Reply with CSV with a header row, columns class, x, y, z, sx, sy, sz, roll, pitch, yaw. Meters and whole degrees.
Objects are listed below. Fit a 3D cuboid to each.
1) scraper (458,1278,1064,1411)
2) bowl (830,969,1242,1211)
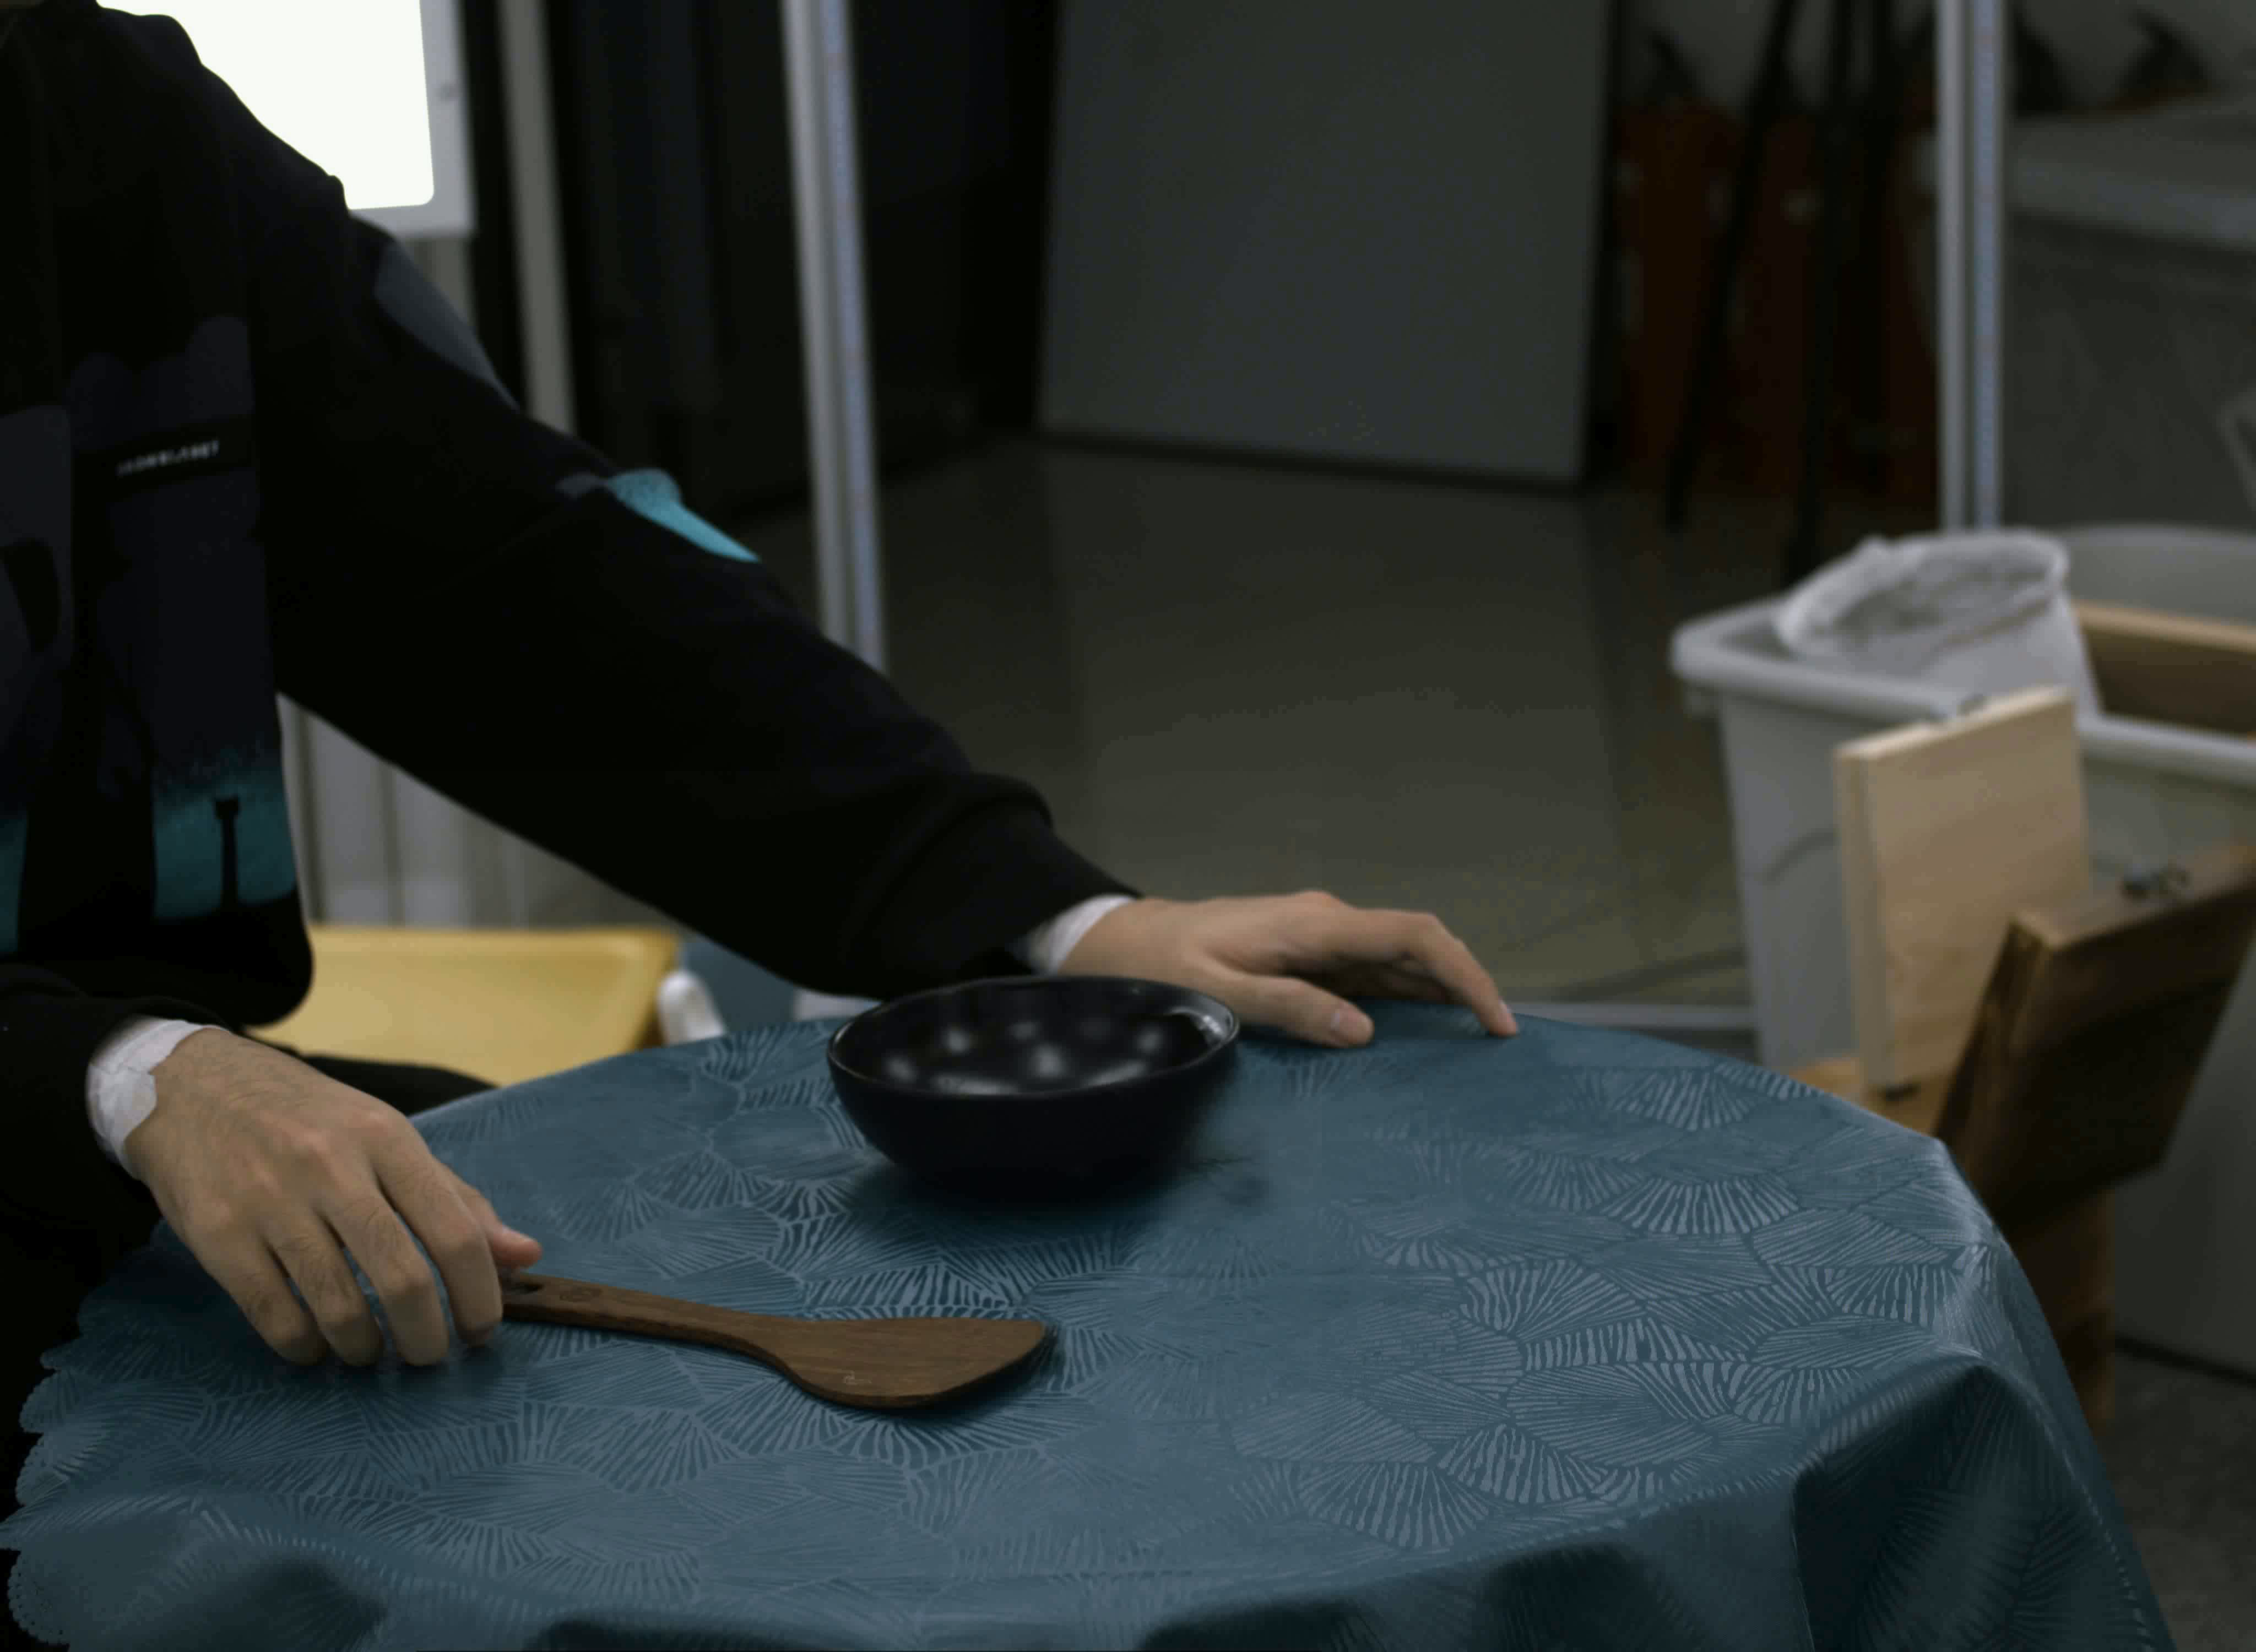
class,x,y,z,sx,sy,sz,roll,pitch,yaw
scraper,-0.119,0.155,1.651,0.212,0.011,0.074,5,15,34
bowl,-0.029,0.092,1.794,0.138,0.050,0.140,-6,16,1
